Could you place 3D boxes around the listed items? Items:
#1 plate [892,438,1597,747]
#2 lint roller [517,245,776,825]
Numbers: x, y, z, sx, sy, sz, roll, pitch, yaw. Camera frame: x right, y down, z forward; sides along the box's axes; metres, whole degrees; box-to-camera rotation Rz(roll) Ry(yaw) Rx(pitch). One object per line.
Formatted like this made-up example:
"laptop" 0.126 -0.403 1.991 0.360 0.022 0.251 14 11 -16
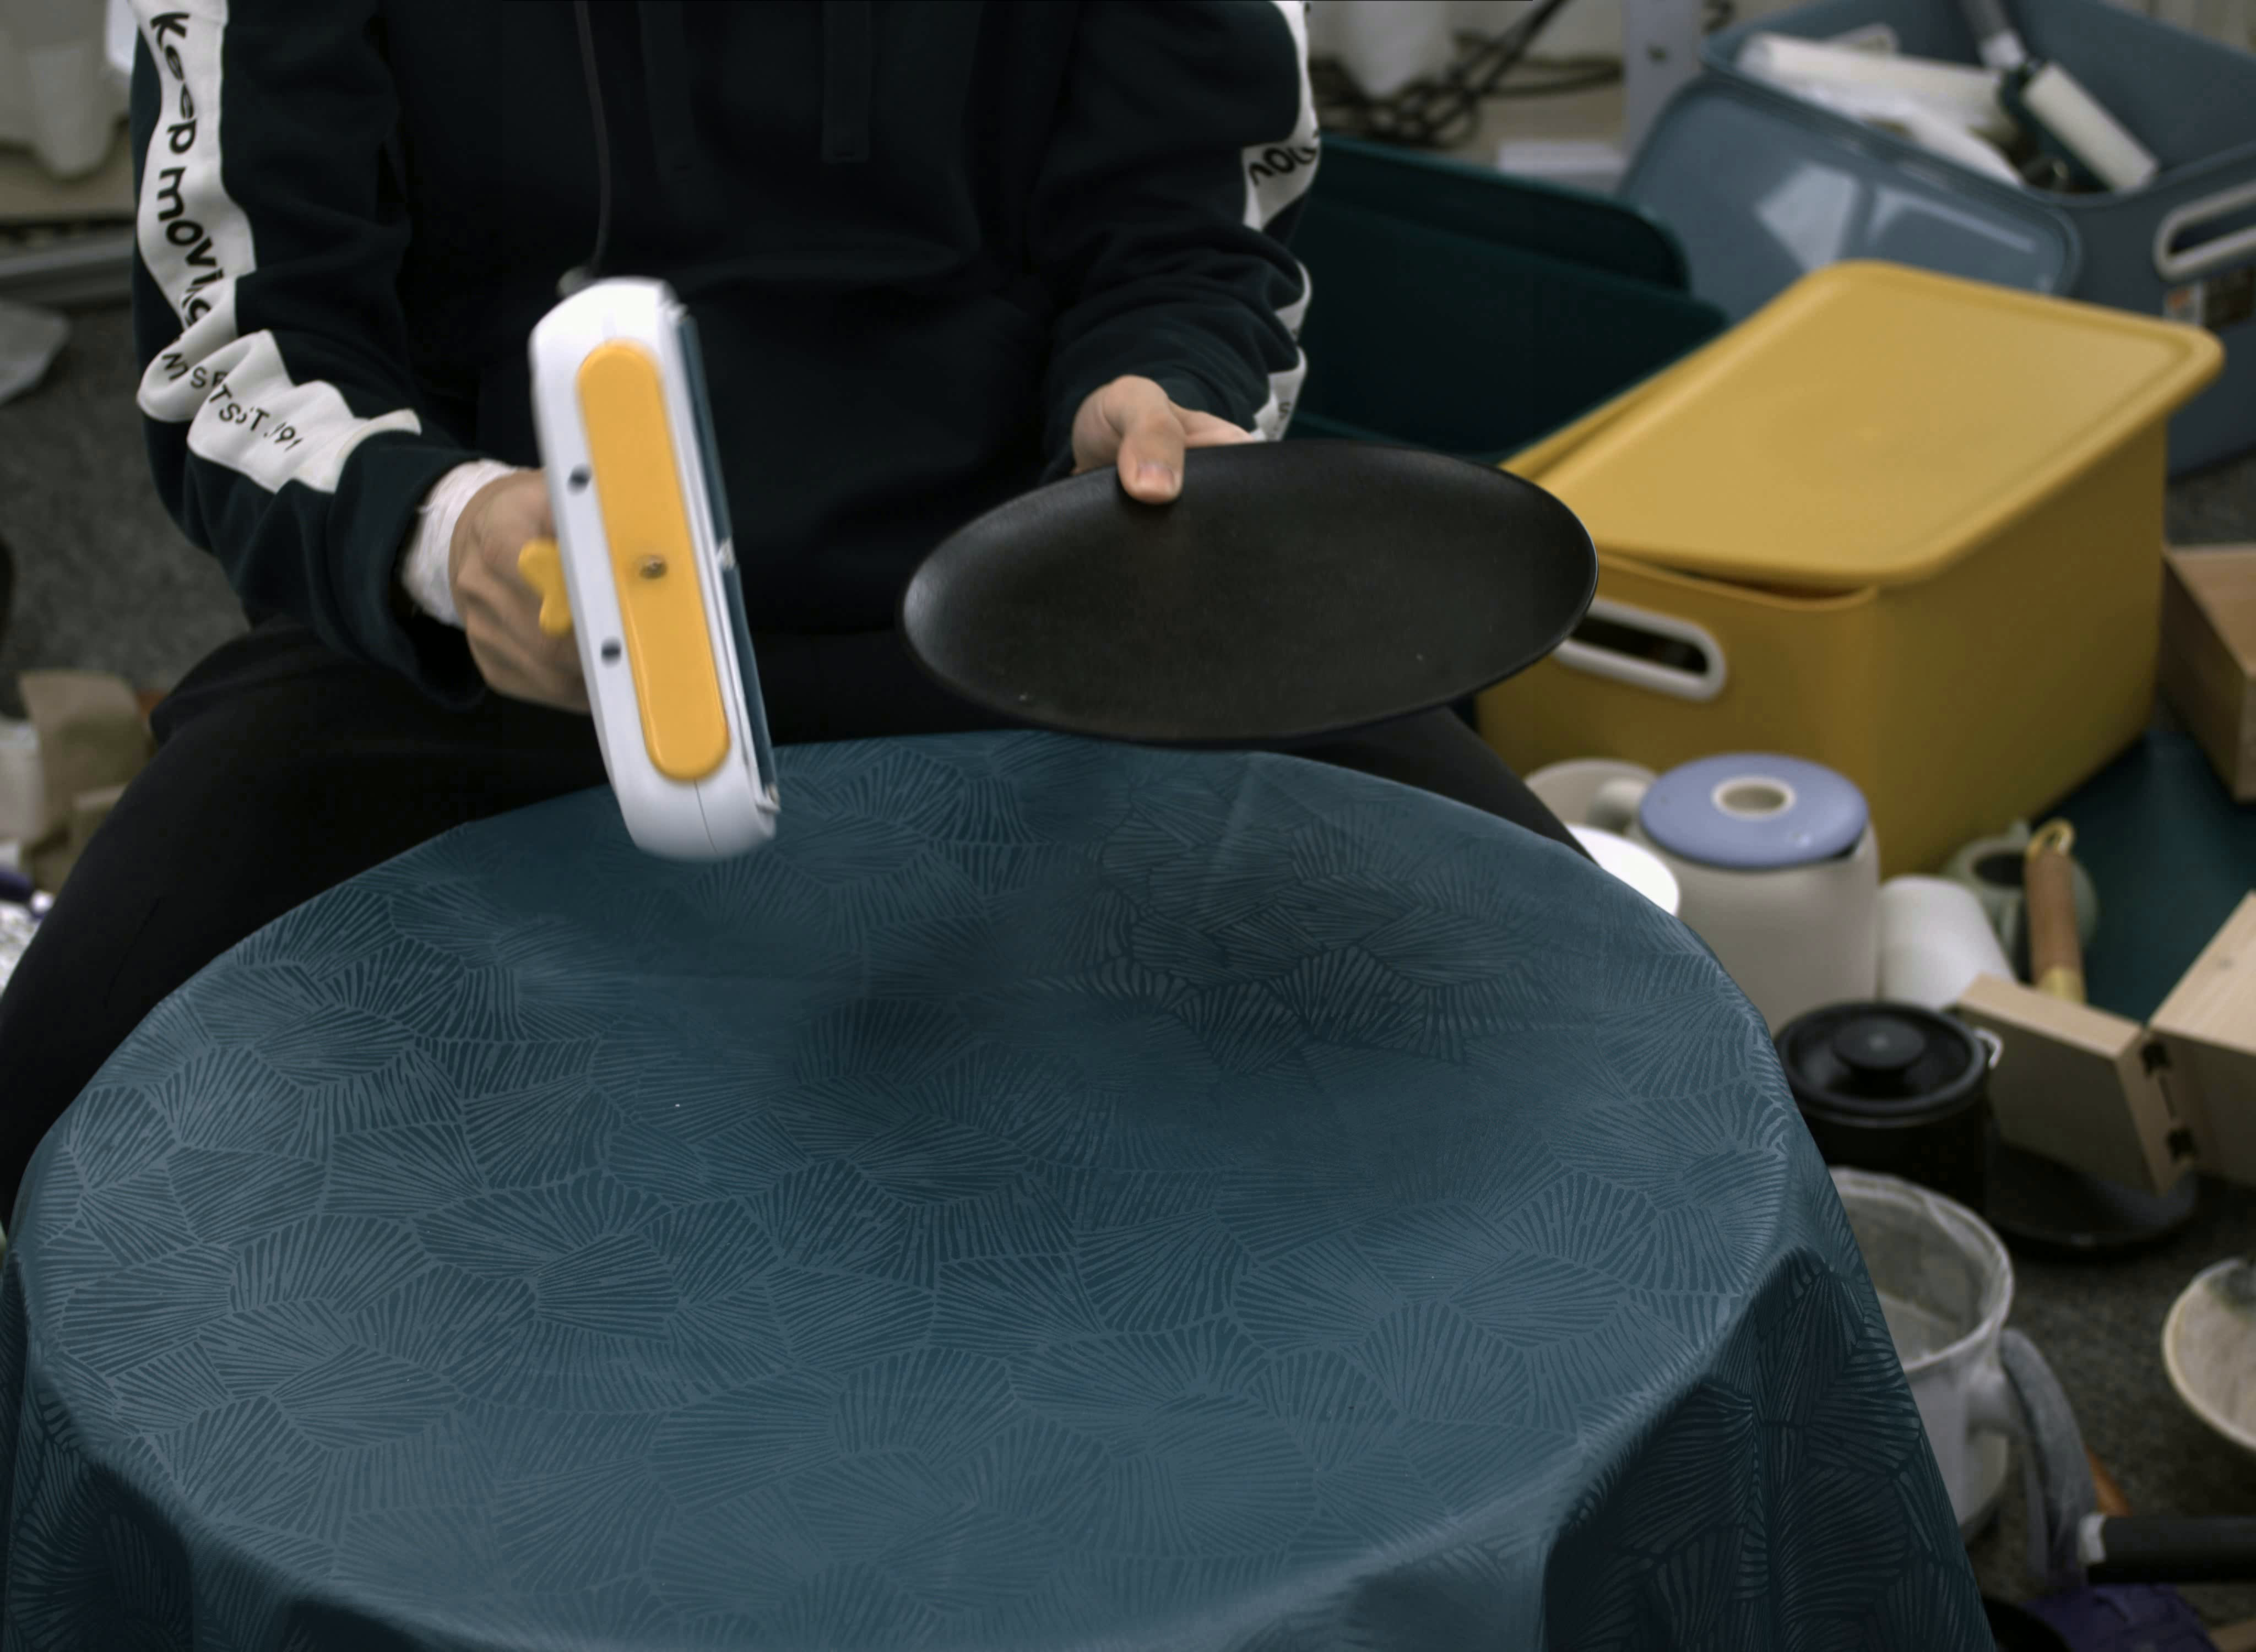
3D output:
"plate" 0.041 -0.076 1.939 0.243 0.023 0.248 -3 26 2
"lint roller" -0.164 -0.084 1.906 0.074 0.194 0.191 -14 -9 -4
